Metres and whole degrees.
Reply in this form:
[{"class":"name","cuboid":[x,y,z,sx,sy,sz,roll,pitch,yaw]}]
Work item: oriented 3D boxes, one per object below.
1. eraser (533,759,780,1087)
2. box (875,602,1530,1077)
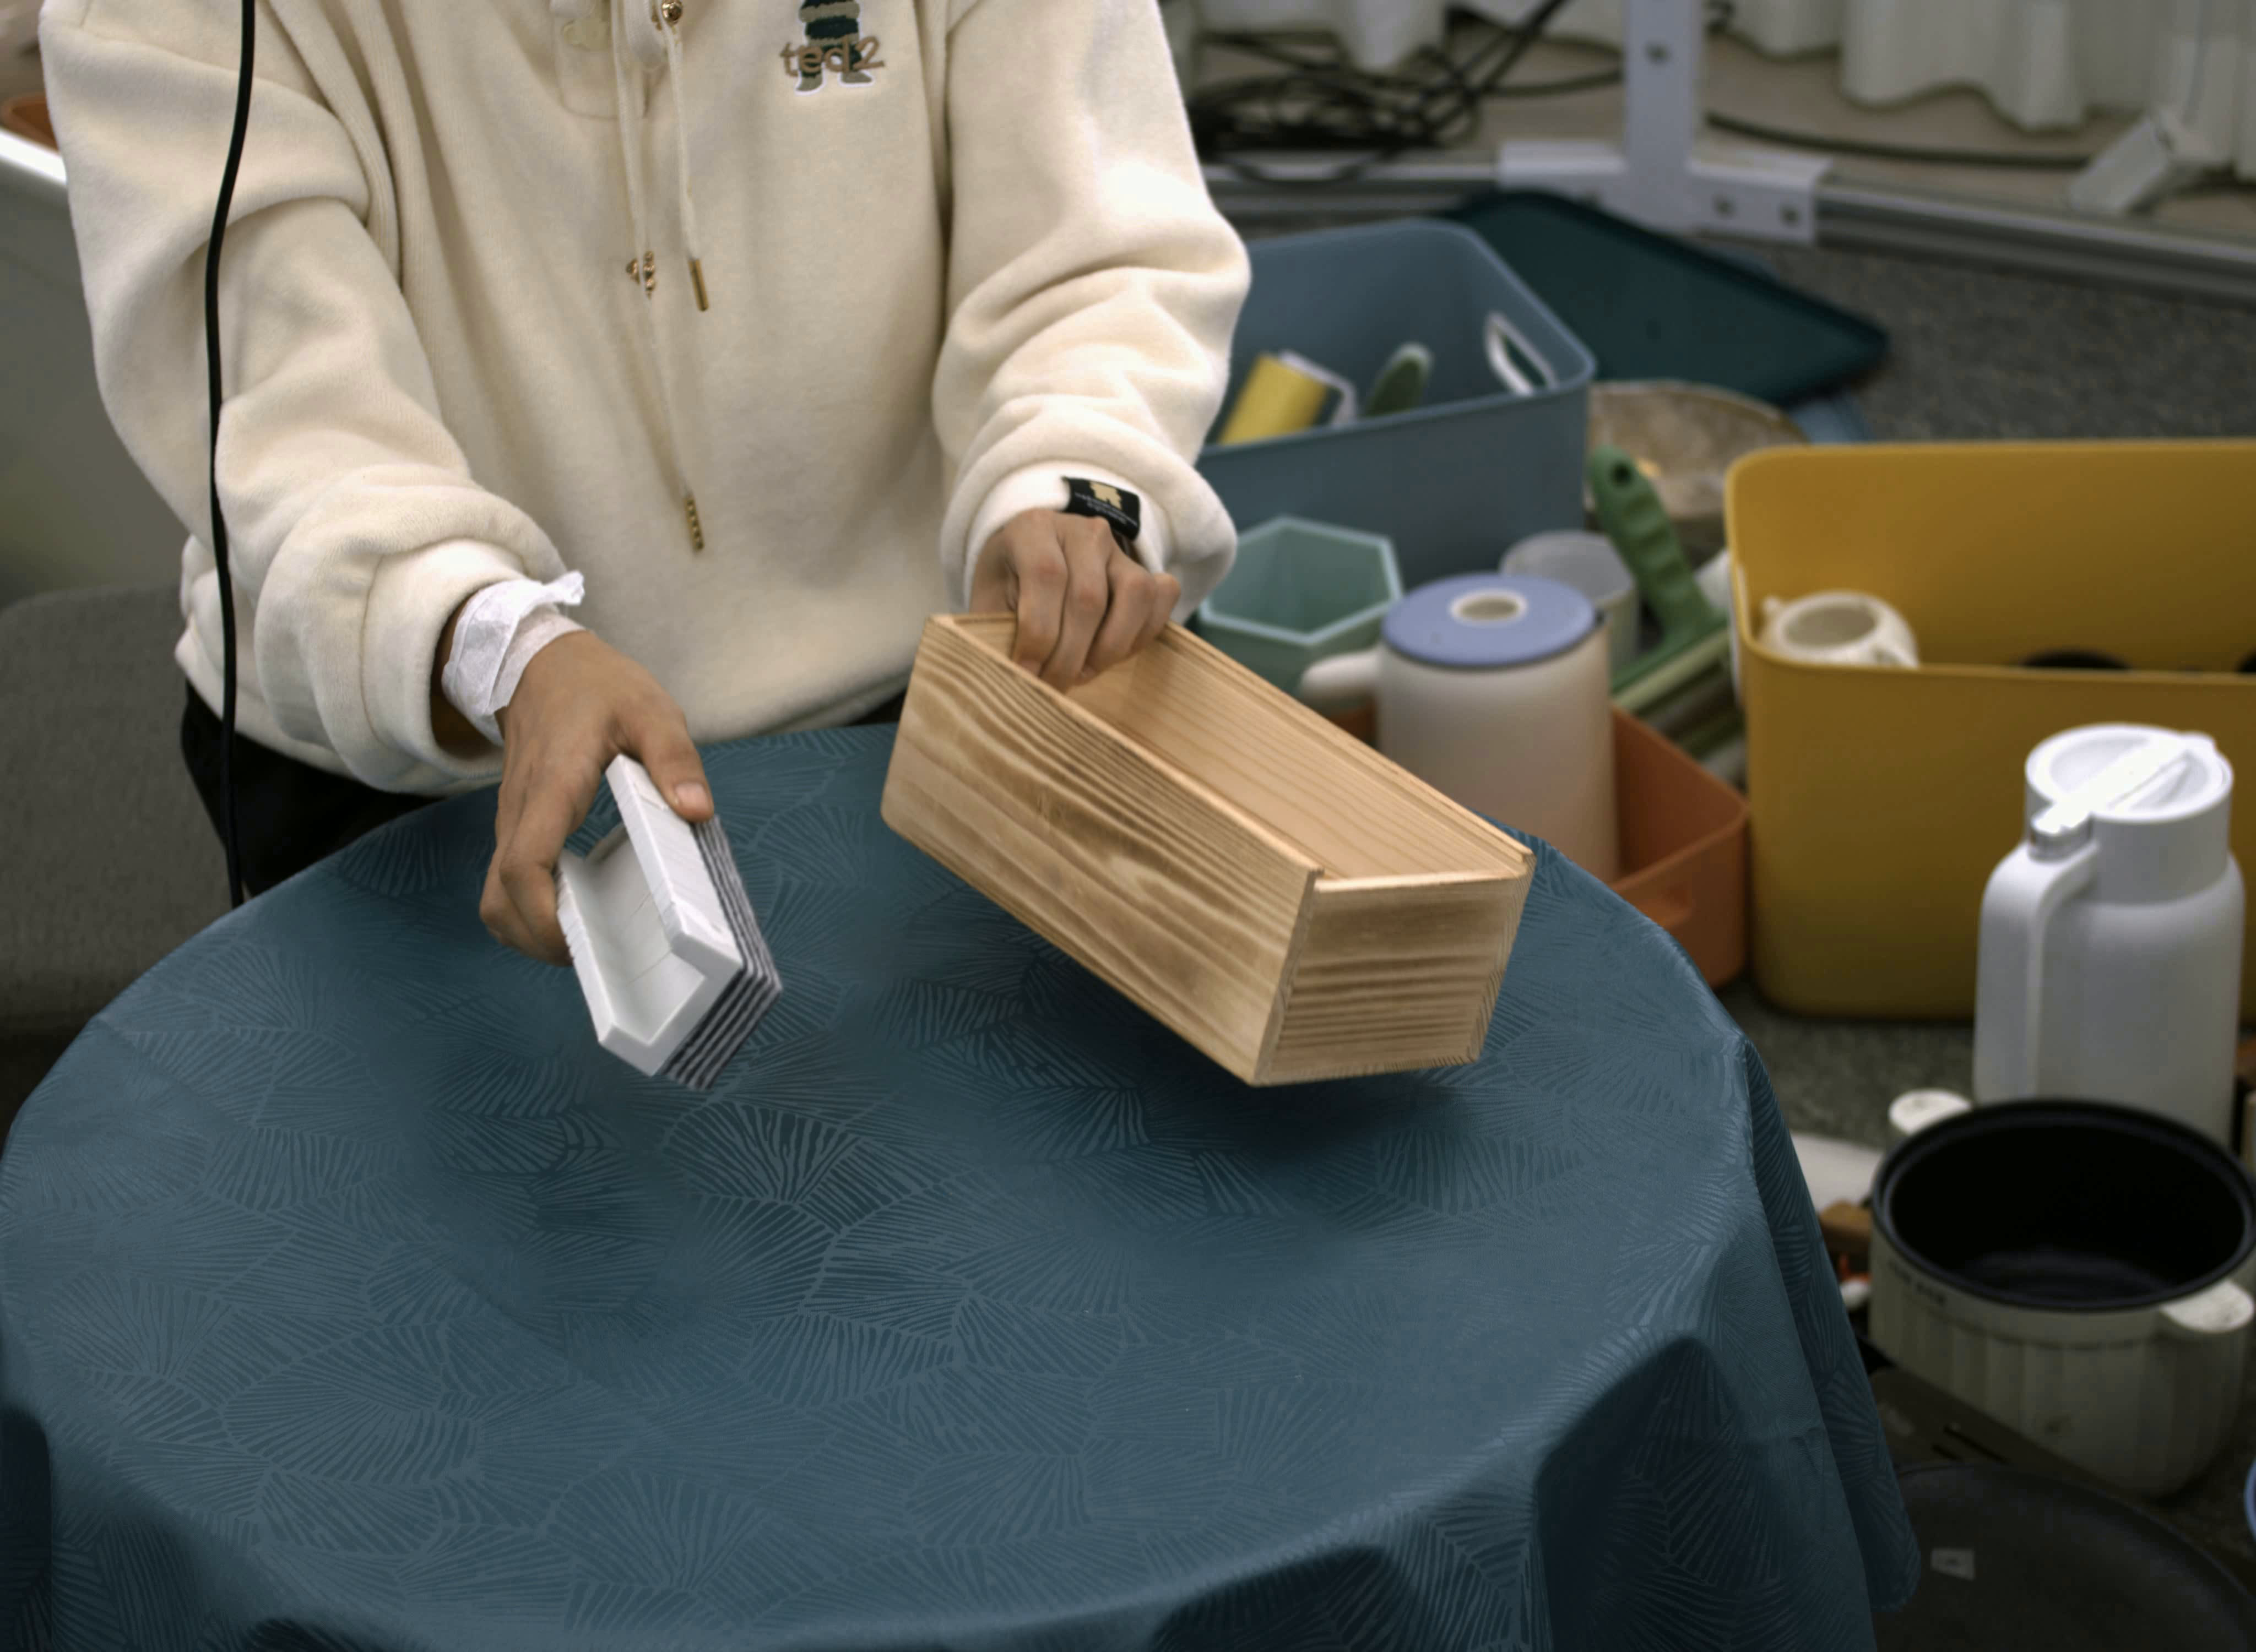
[{"class":"eraser","cuboid":[-0.156,0.032,1.858,0.046,0.049,0.135,29,12,-27]},{"class":"box","cuboid":[0.022,0.001,1.931,0.108,0.079,0.212,-1,26,-42]}]
